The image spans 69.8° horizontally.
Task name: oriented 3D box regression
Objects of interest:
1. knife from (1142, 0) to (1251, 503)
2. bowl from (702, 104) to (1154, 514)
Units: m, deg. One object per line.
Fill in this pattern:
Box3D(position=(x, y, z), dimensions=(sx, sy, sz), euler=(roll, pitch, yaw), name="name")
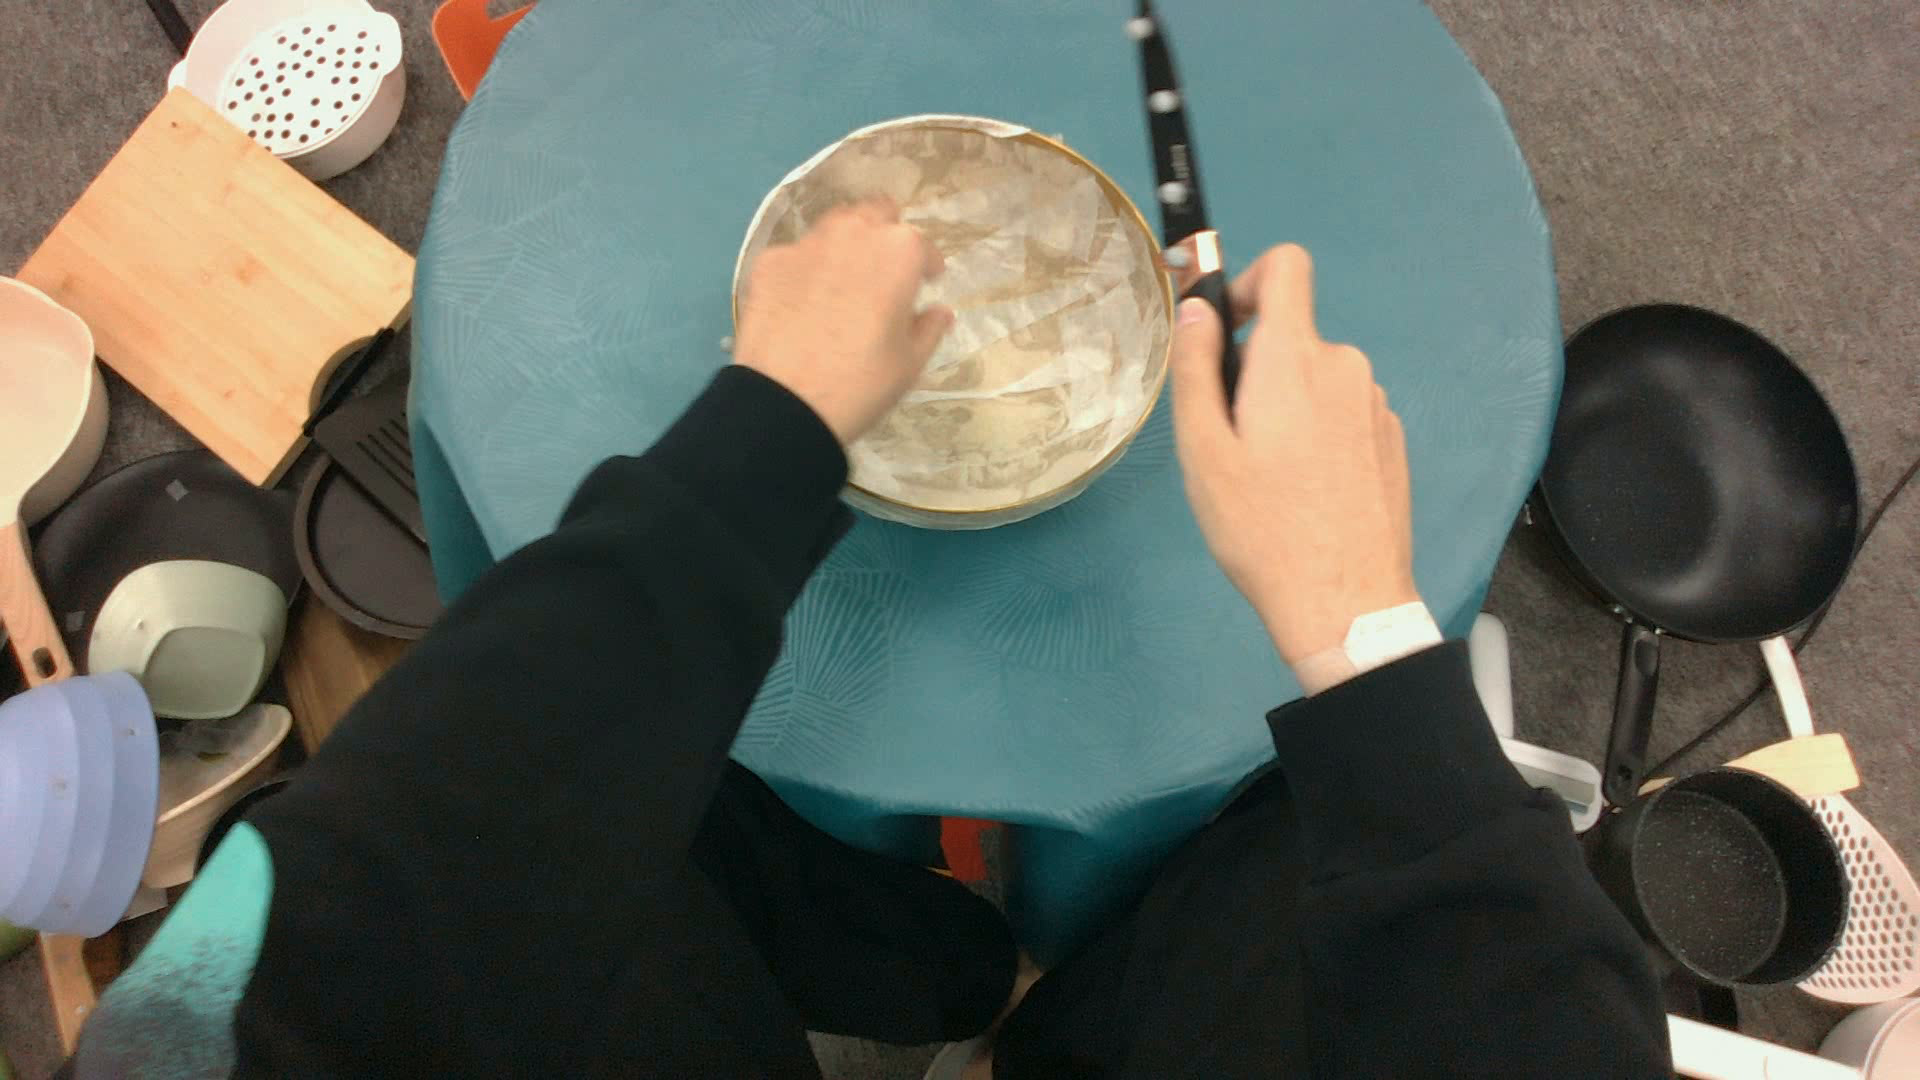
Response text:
Box3D(position=(0.092, -0.123, 0.541), dimensions=(0.026, 0.017, 0.226), euler=(-10, 77, 23), name="knife")
Box3D(position=(-0.017, -0.094, 0.656), dimensions=(0.215, 0.094, 0.215), euler=(2, 69, -5), name="bowl")
